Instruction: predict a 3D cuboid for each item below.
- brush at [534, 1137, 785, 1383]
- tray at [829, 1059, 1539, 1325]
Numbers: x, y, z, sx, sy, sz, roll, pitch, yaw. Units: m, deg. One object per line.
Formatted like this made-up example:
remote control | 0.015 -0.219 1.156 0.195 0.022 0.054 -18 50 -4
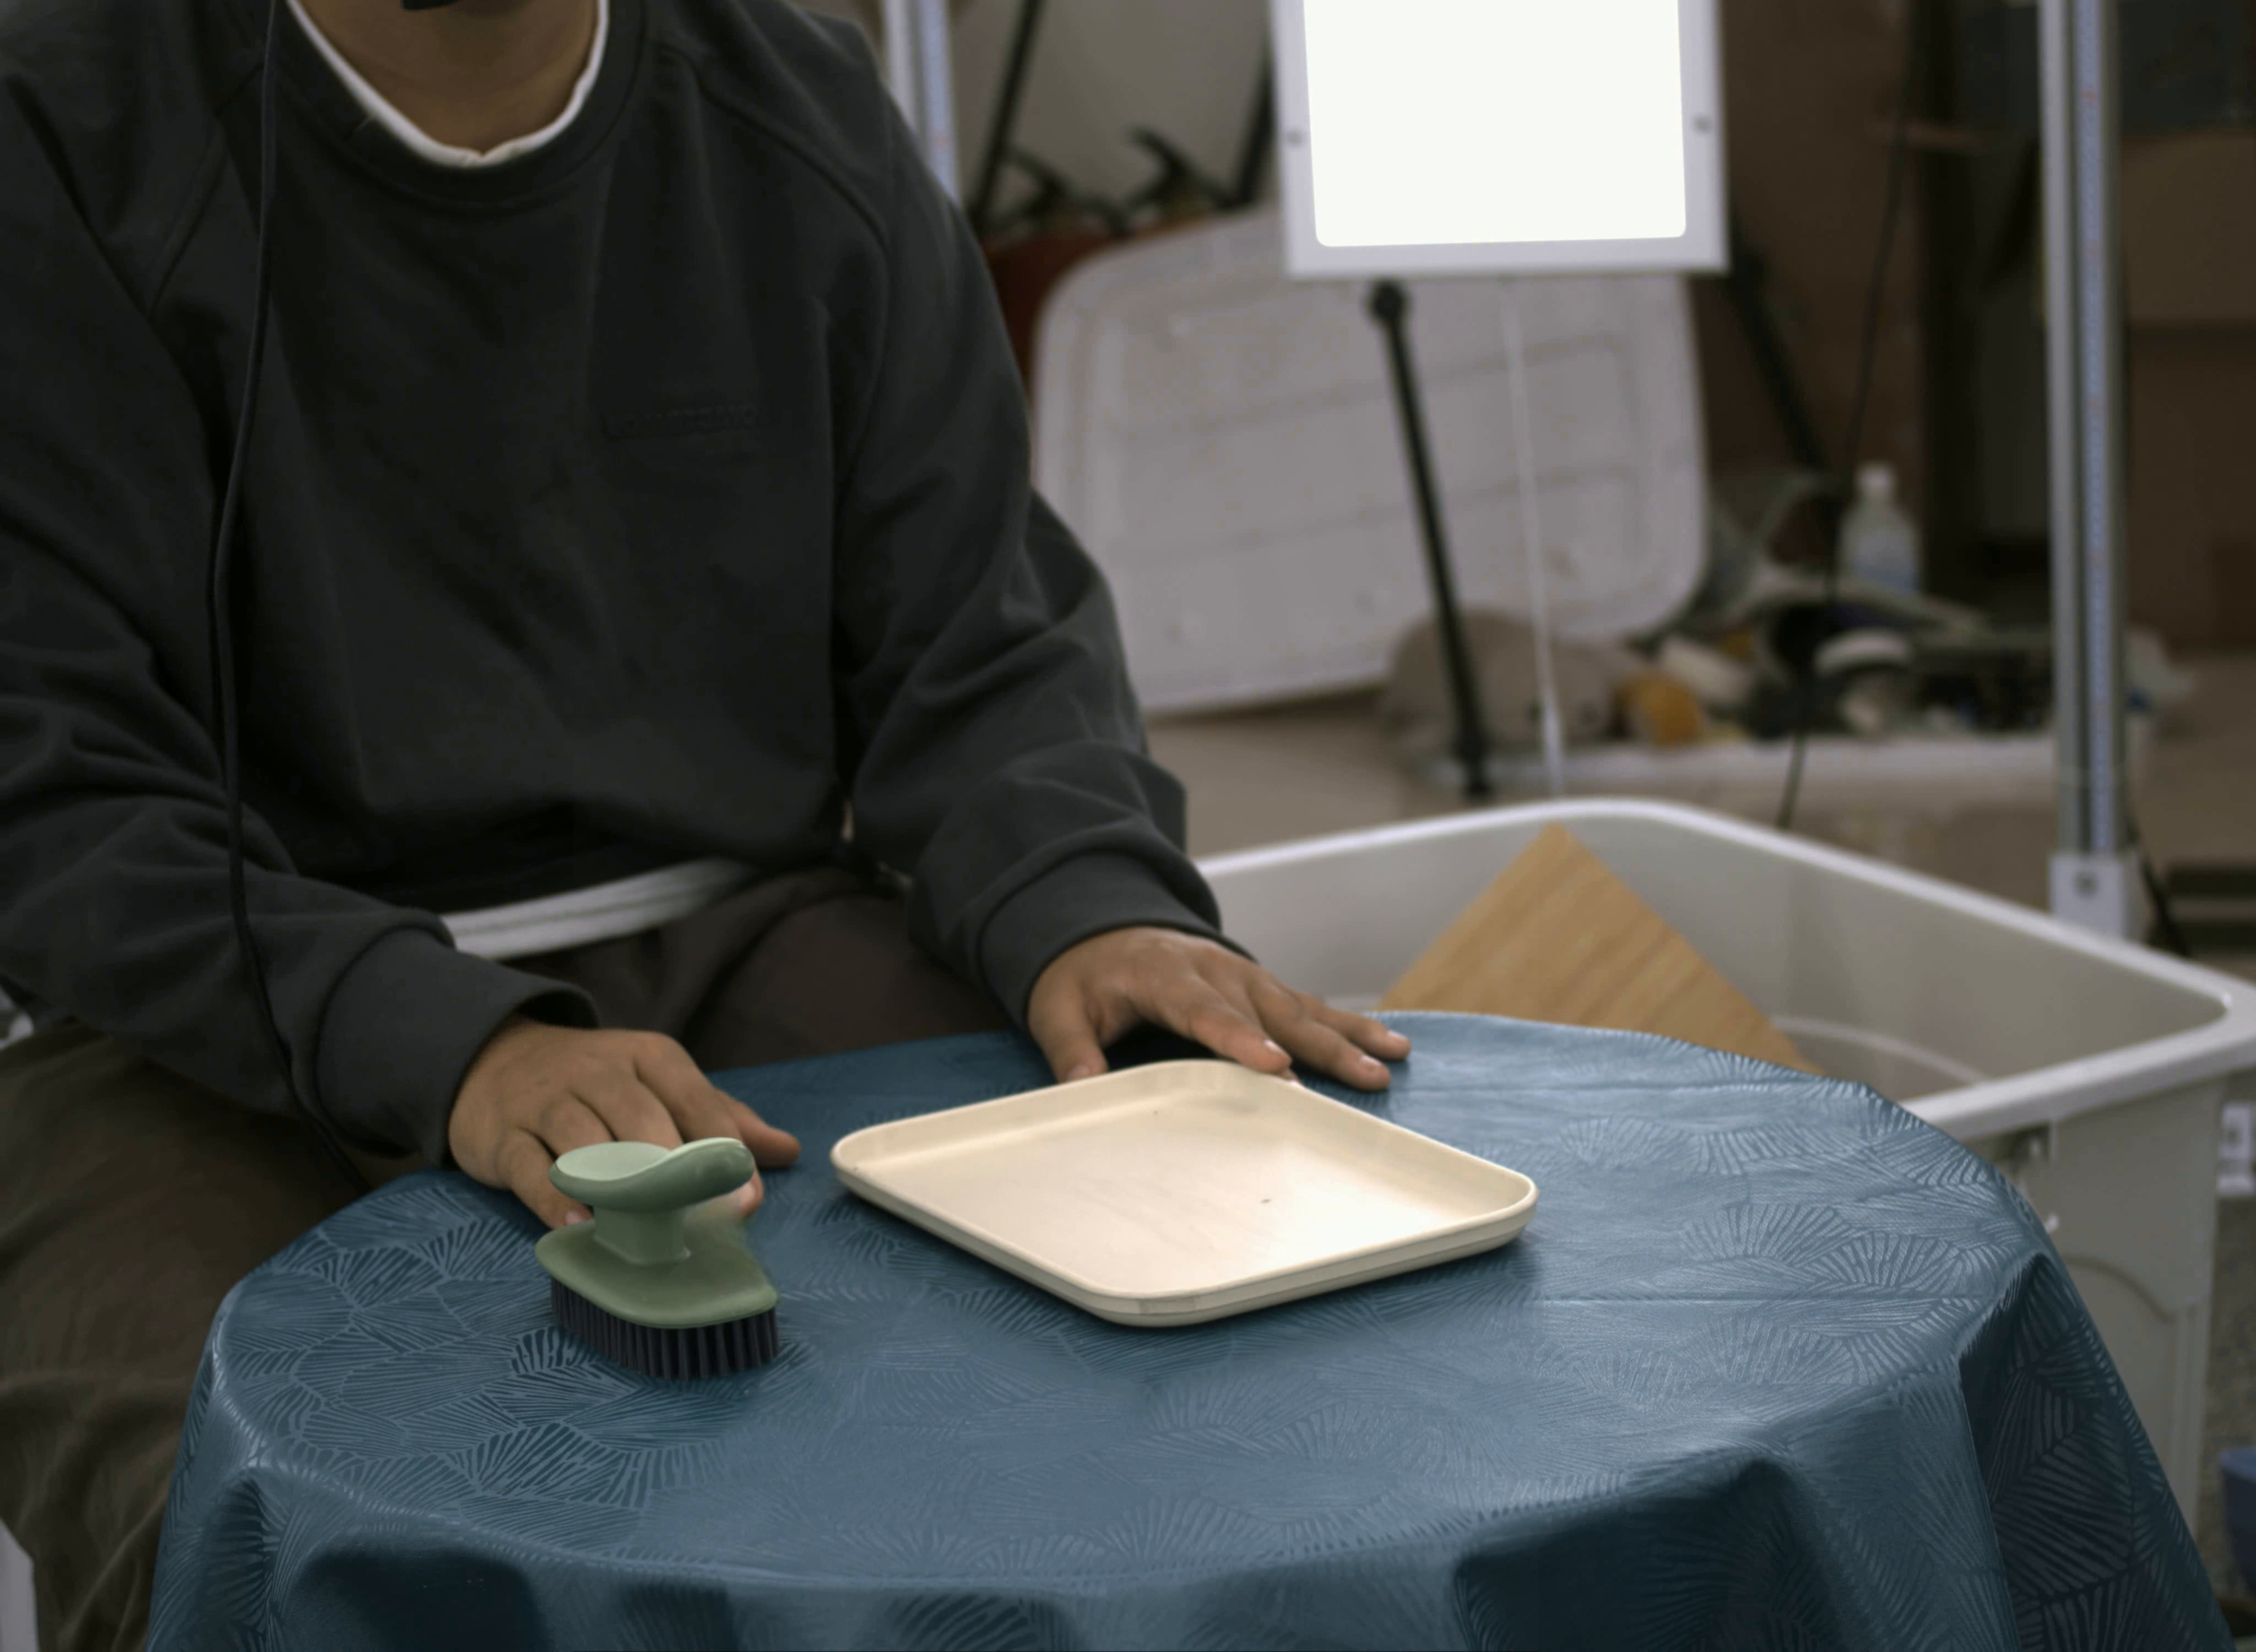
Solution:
brush | -0.152 0.140 1.788 0.058 0.076 0.125 -10 1 -26
tray | 0.017 0.123 1.868 0.167 0.017 0.244 -11 15 -26
